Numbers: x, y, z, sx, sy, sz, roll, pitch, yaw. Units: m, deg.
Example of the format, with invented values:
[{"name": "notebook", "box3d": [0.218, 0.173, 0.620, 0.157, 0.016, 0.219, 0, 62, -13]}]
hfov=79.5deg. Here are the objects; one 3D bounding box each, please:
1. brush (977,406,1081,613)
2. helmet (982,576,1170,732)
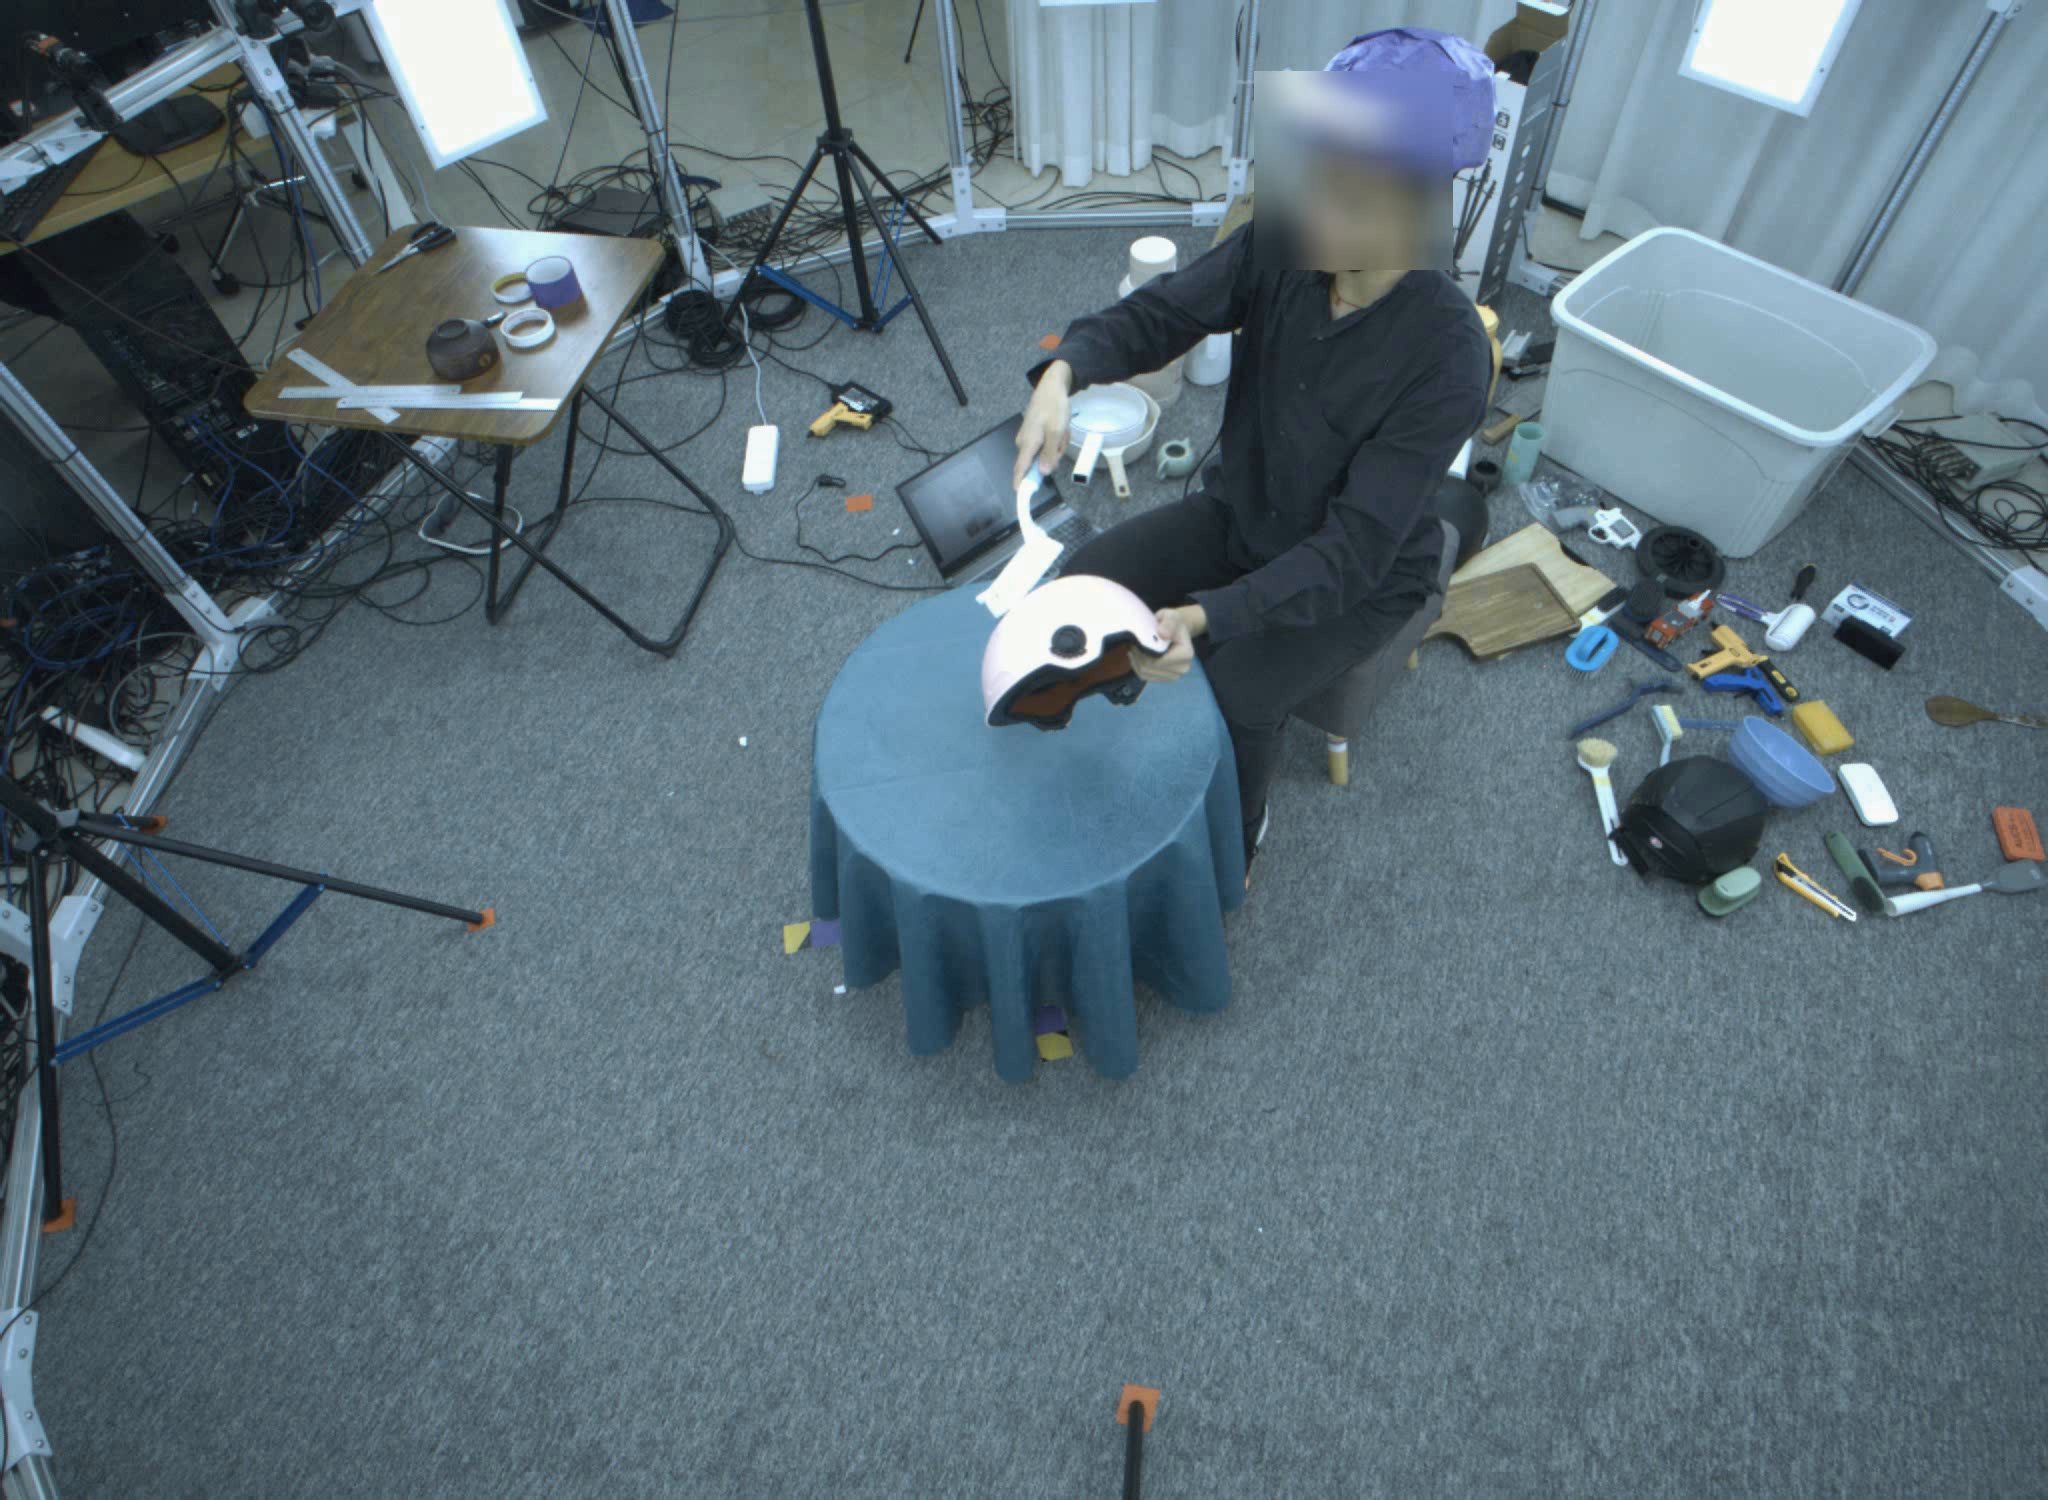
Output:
[{"name": "brush", "box3d": [0.035, -0.321, 1.633, 0.081, 0.086, 0.325, 11, 70, 37]}, {"name": "helmet", "box3d": [0.050, -0.136, 1.615, 0.268, 0.234, 0.157, -20, 76, -16]}]
